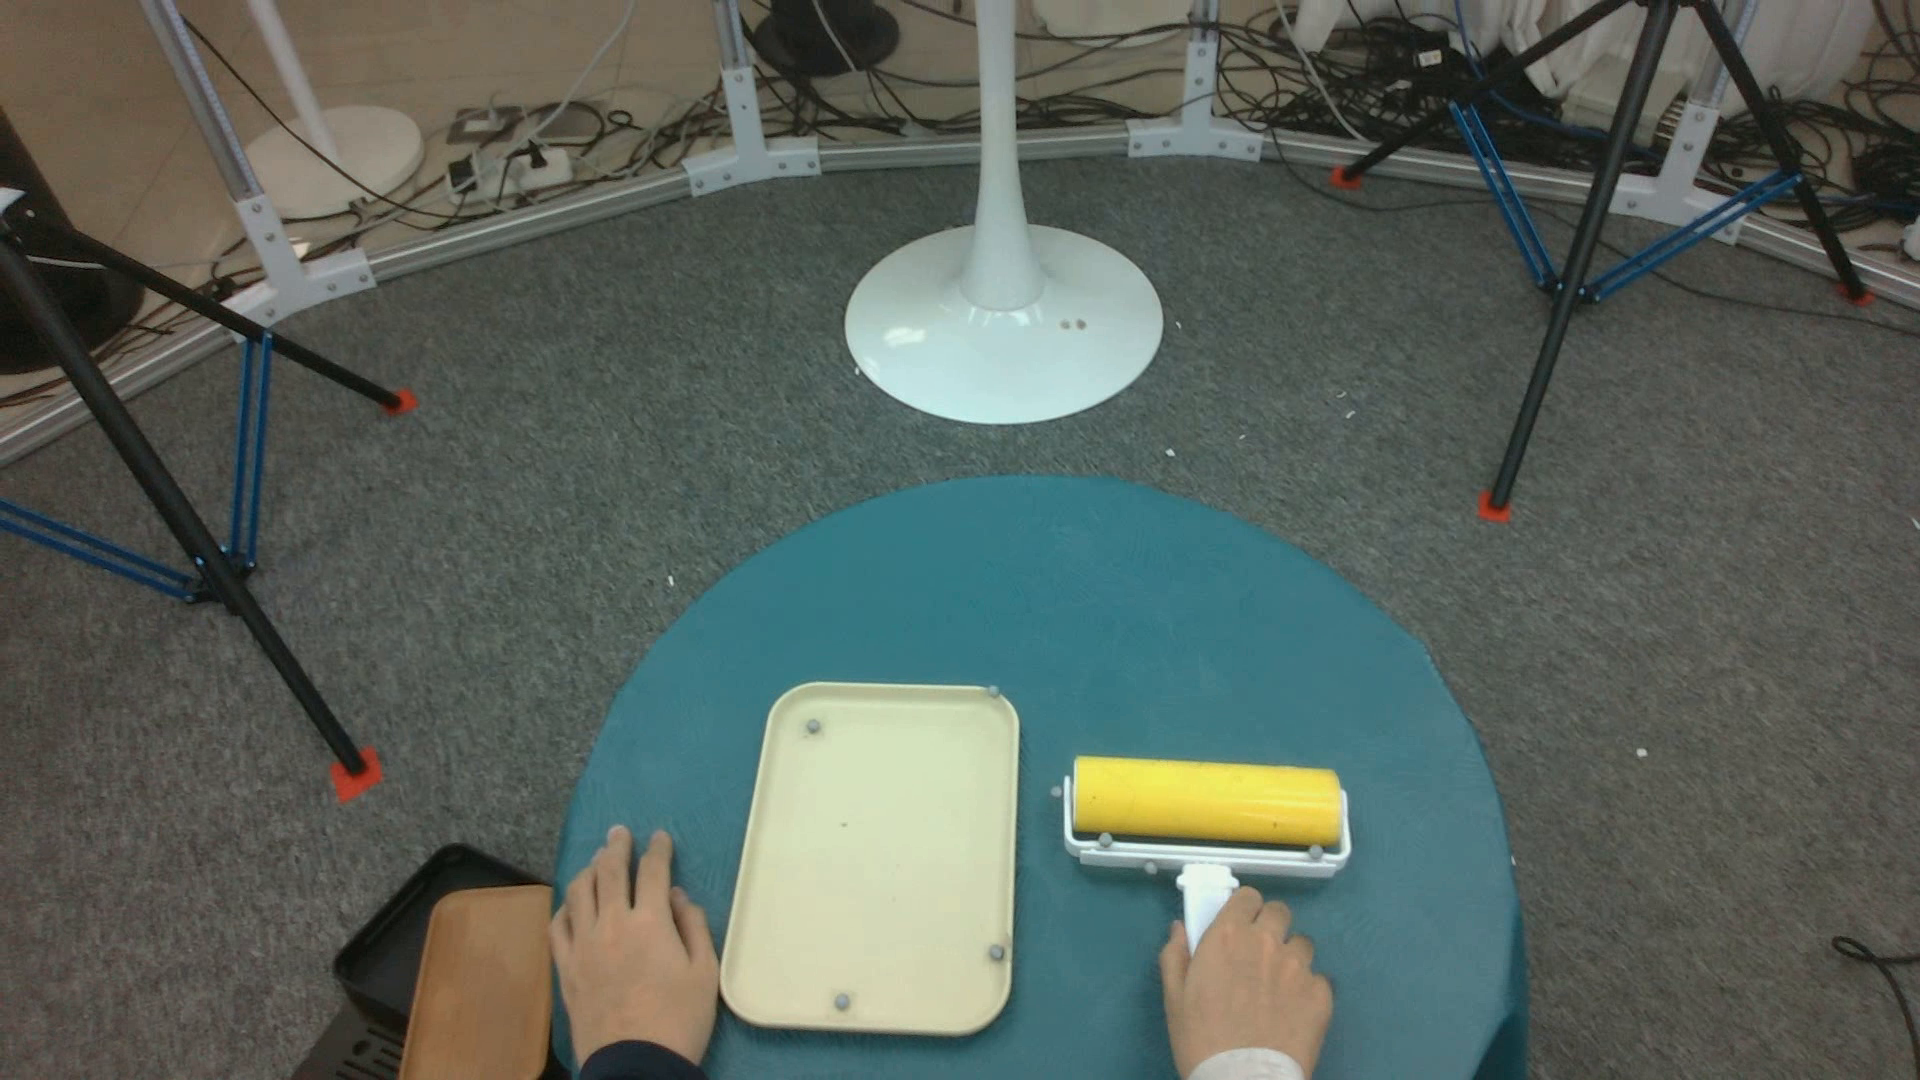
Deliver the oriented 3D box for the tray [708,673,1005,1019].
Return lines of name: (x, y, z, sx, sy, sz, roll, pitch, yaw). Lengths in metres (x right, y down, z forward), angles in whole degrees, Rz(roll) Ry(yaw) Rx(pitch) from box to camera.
tray: (-0.058, 0.184, 0.861, 0.171, 0.017, 0.241, 1, 47, 3)

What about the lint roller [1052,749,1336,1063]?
lint roller: (0.142, 0.205, 0.810, 0.174, 0.051, 0.193, 0, 42, 3)
